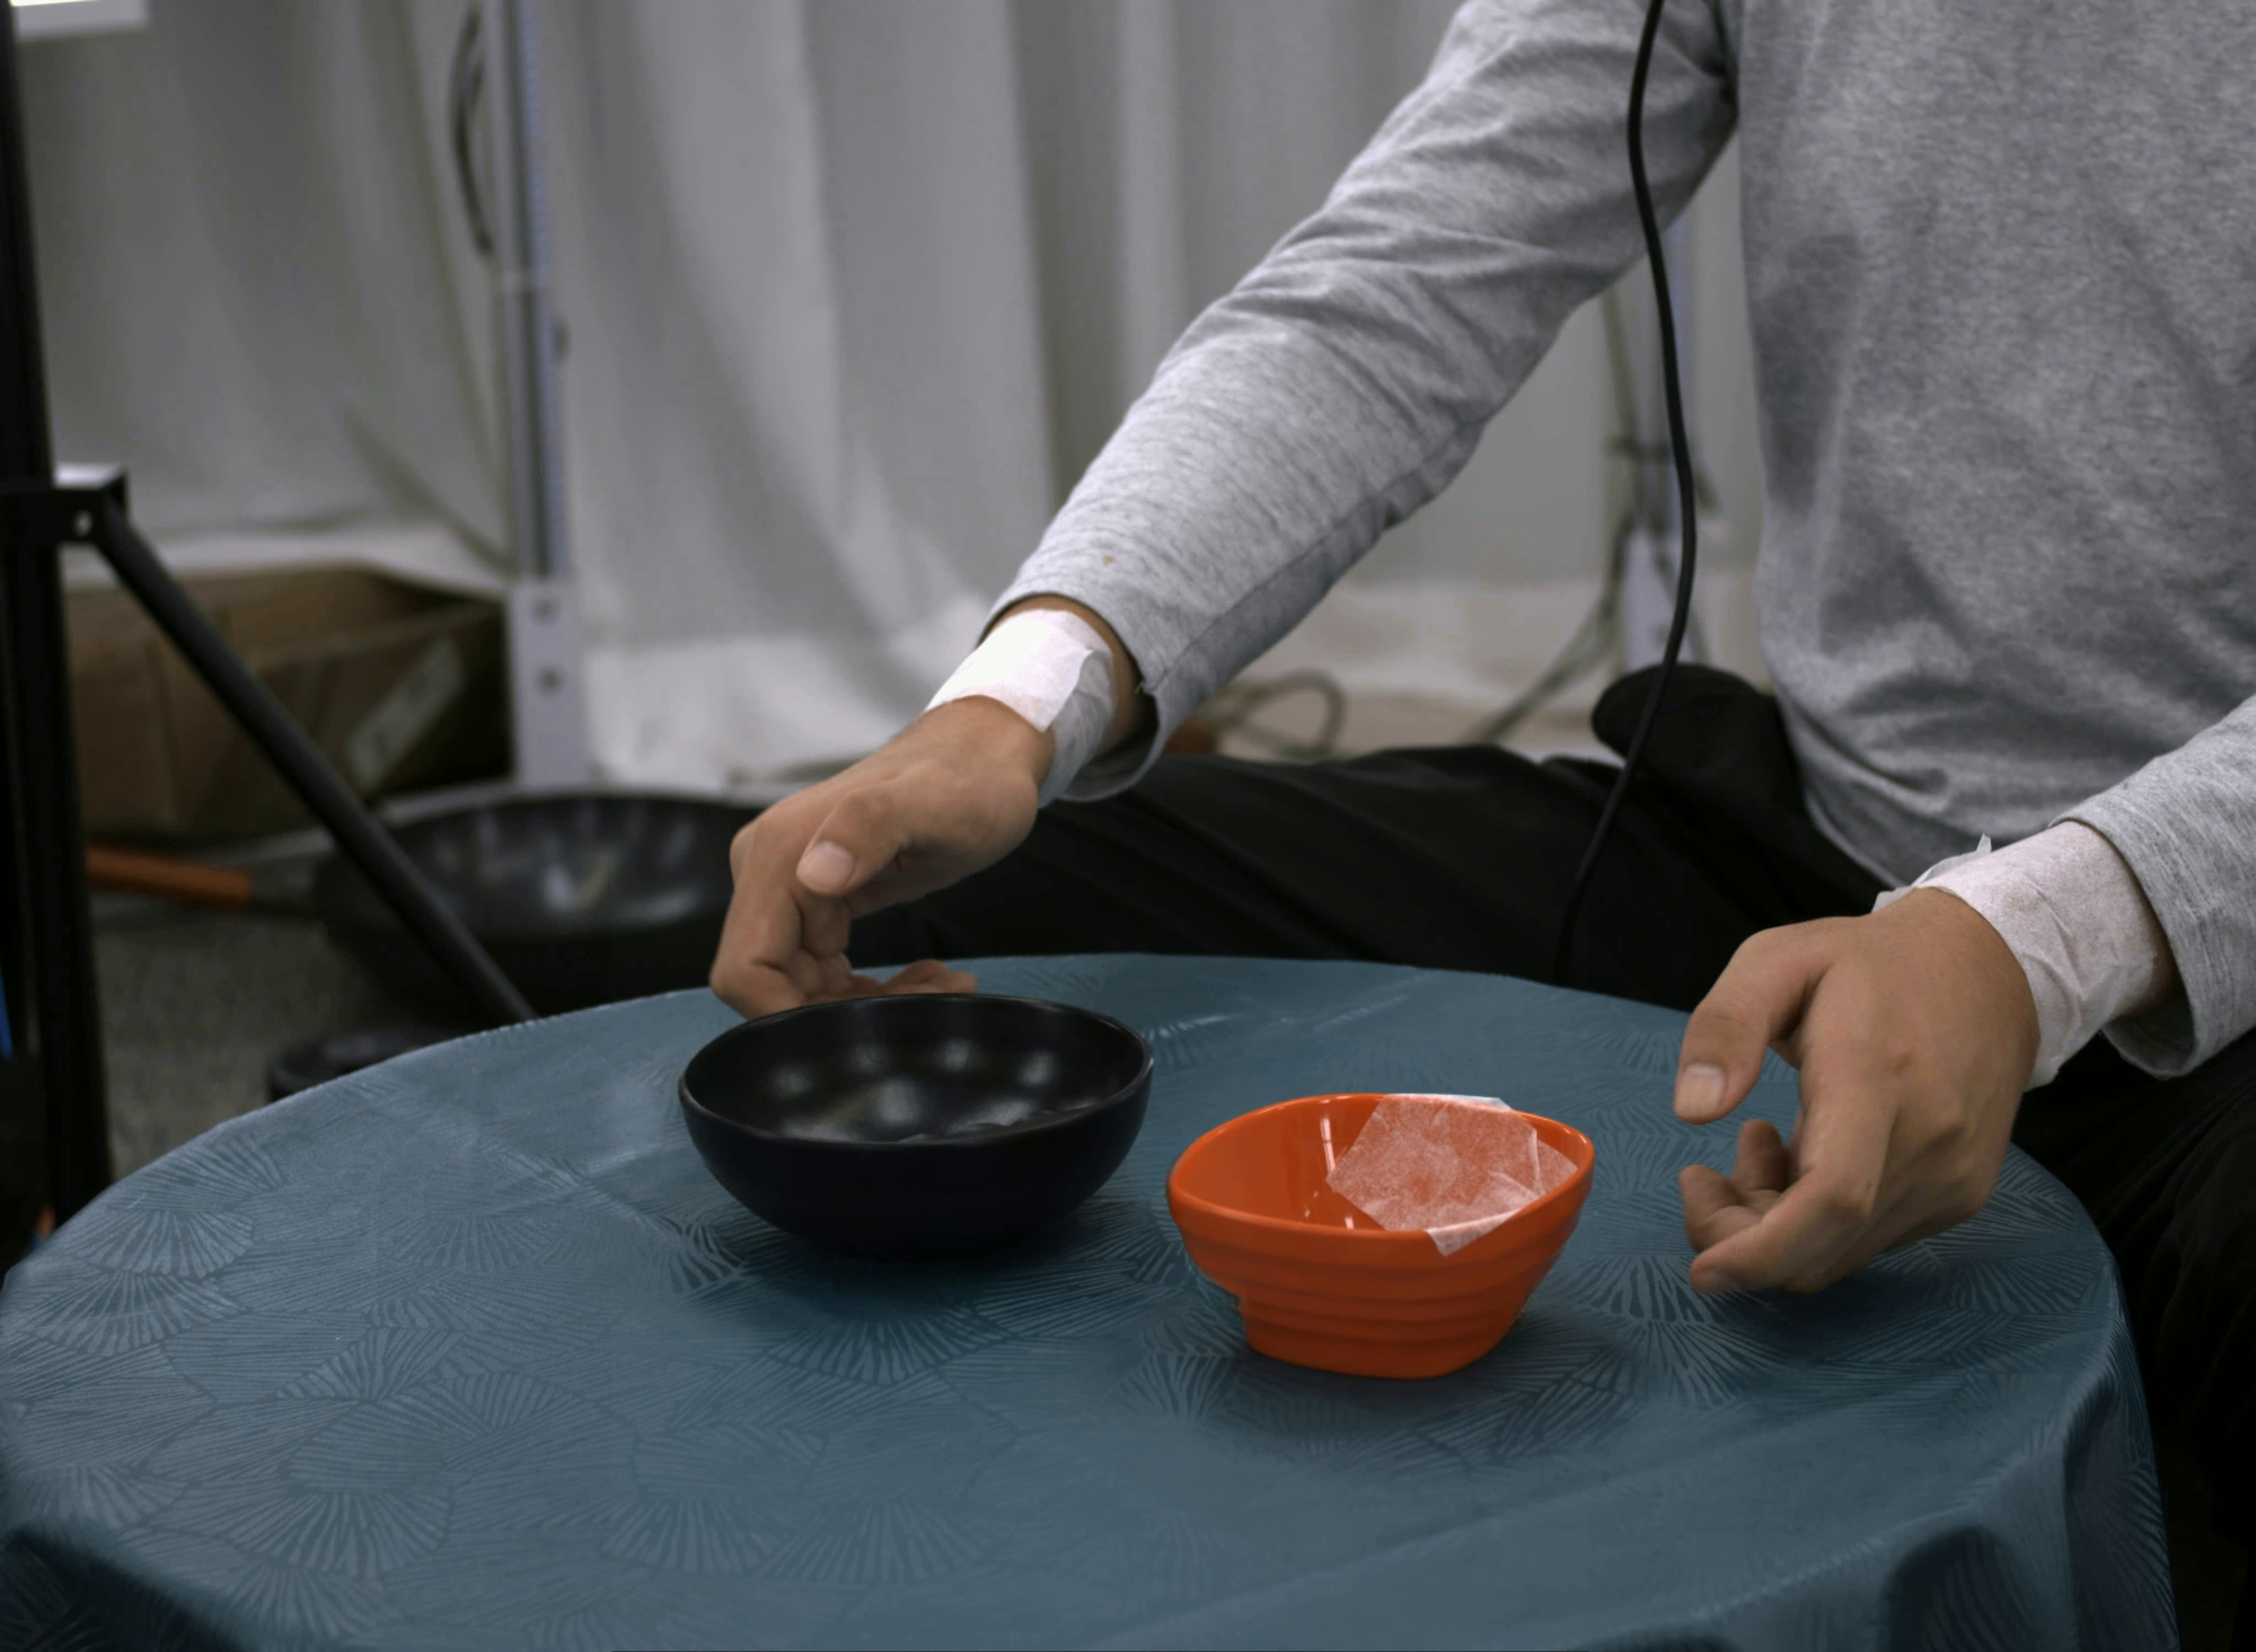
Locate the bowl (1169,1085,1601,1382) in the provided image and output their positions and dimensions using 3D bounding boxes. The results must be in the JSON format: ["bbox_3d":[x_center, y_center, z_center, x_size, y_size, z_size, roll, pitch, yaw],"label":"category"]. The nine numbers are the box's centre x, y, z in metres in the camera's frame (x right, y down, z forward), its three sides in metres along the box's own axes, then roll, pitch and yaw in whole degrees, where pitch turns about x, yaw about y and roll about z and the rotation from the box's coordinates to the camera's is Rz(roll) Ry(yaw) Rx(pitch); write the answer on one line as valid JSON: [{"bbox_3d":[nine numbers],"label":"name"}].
[{"bbox_3d":[0.071,0.113,1.434,0.118,0.051,0.119,-5,17,0],"label":"bowl"}]

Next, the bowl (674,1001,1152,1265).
[{"bbox_3d":[-0.062,0.093,1.541,0.139,0.050,0.140,0,14,-1],"label":"bowl"}]
